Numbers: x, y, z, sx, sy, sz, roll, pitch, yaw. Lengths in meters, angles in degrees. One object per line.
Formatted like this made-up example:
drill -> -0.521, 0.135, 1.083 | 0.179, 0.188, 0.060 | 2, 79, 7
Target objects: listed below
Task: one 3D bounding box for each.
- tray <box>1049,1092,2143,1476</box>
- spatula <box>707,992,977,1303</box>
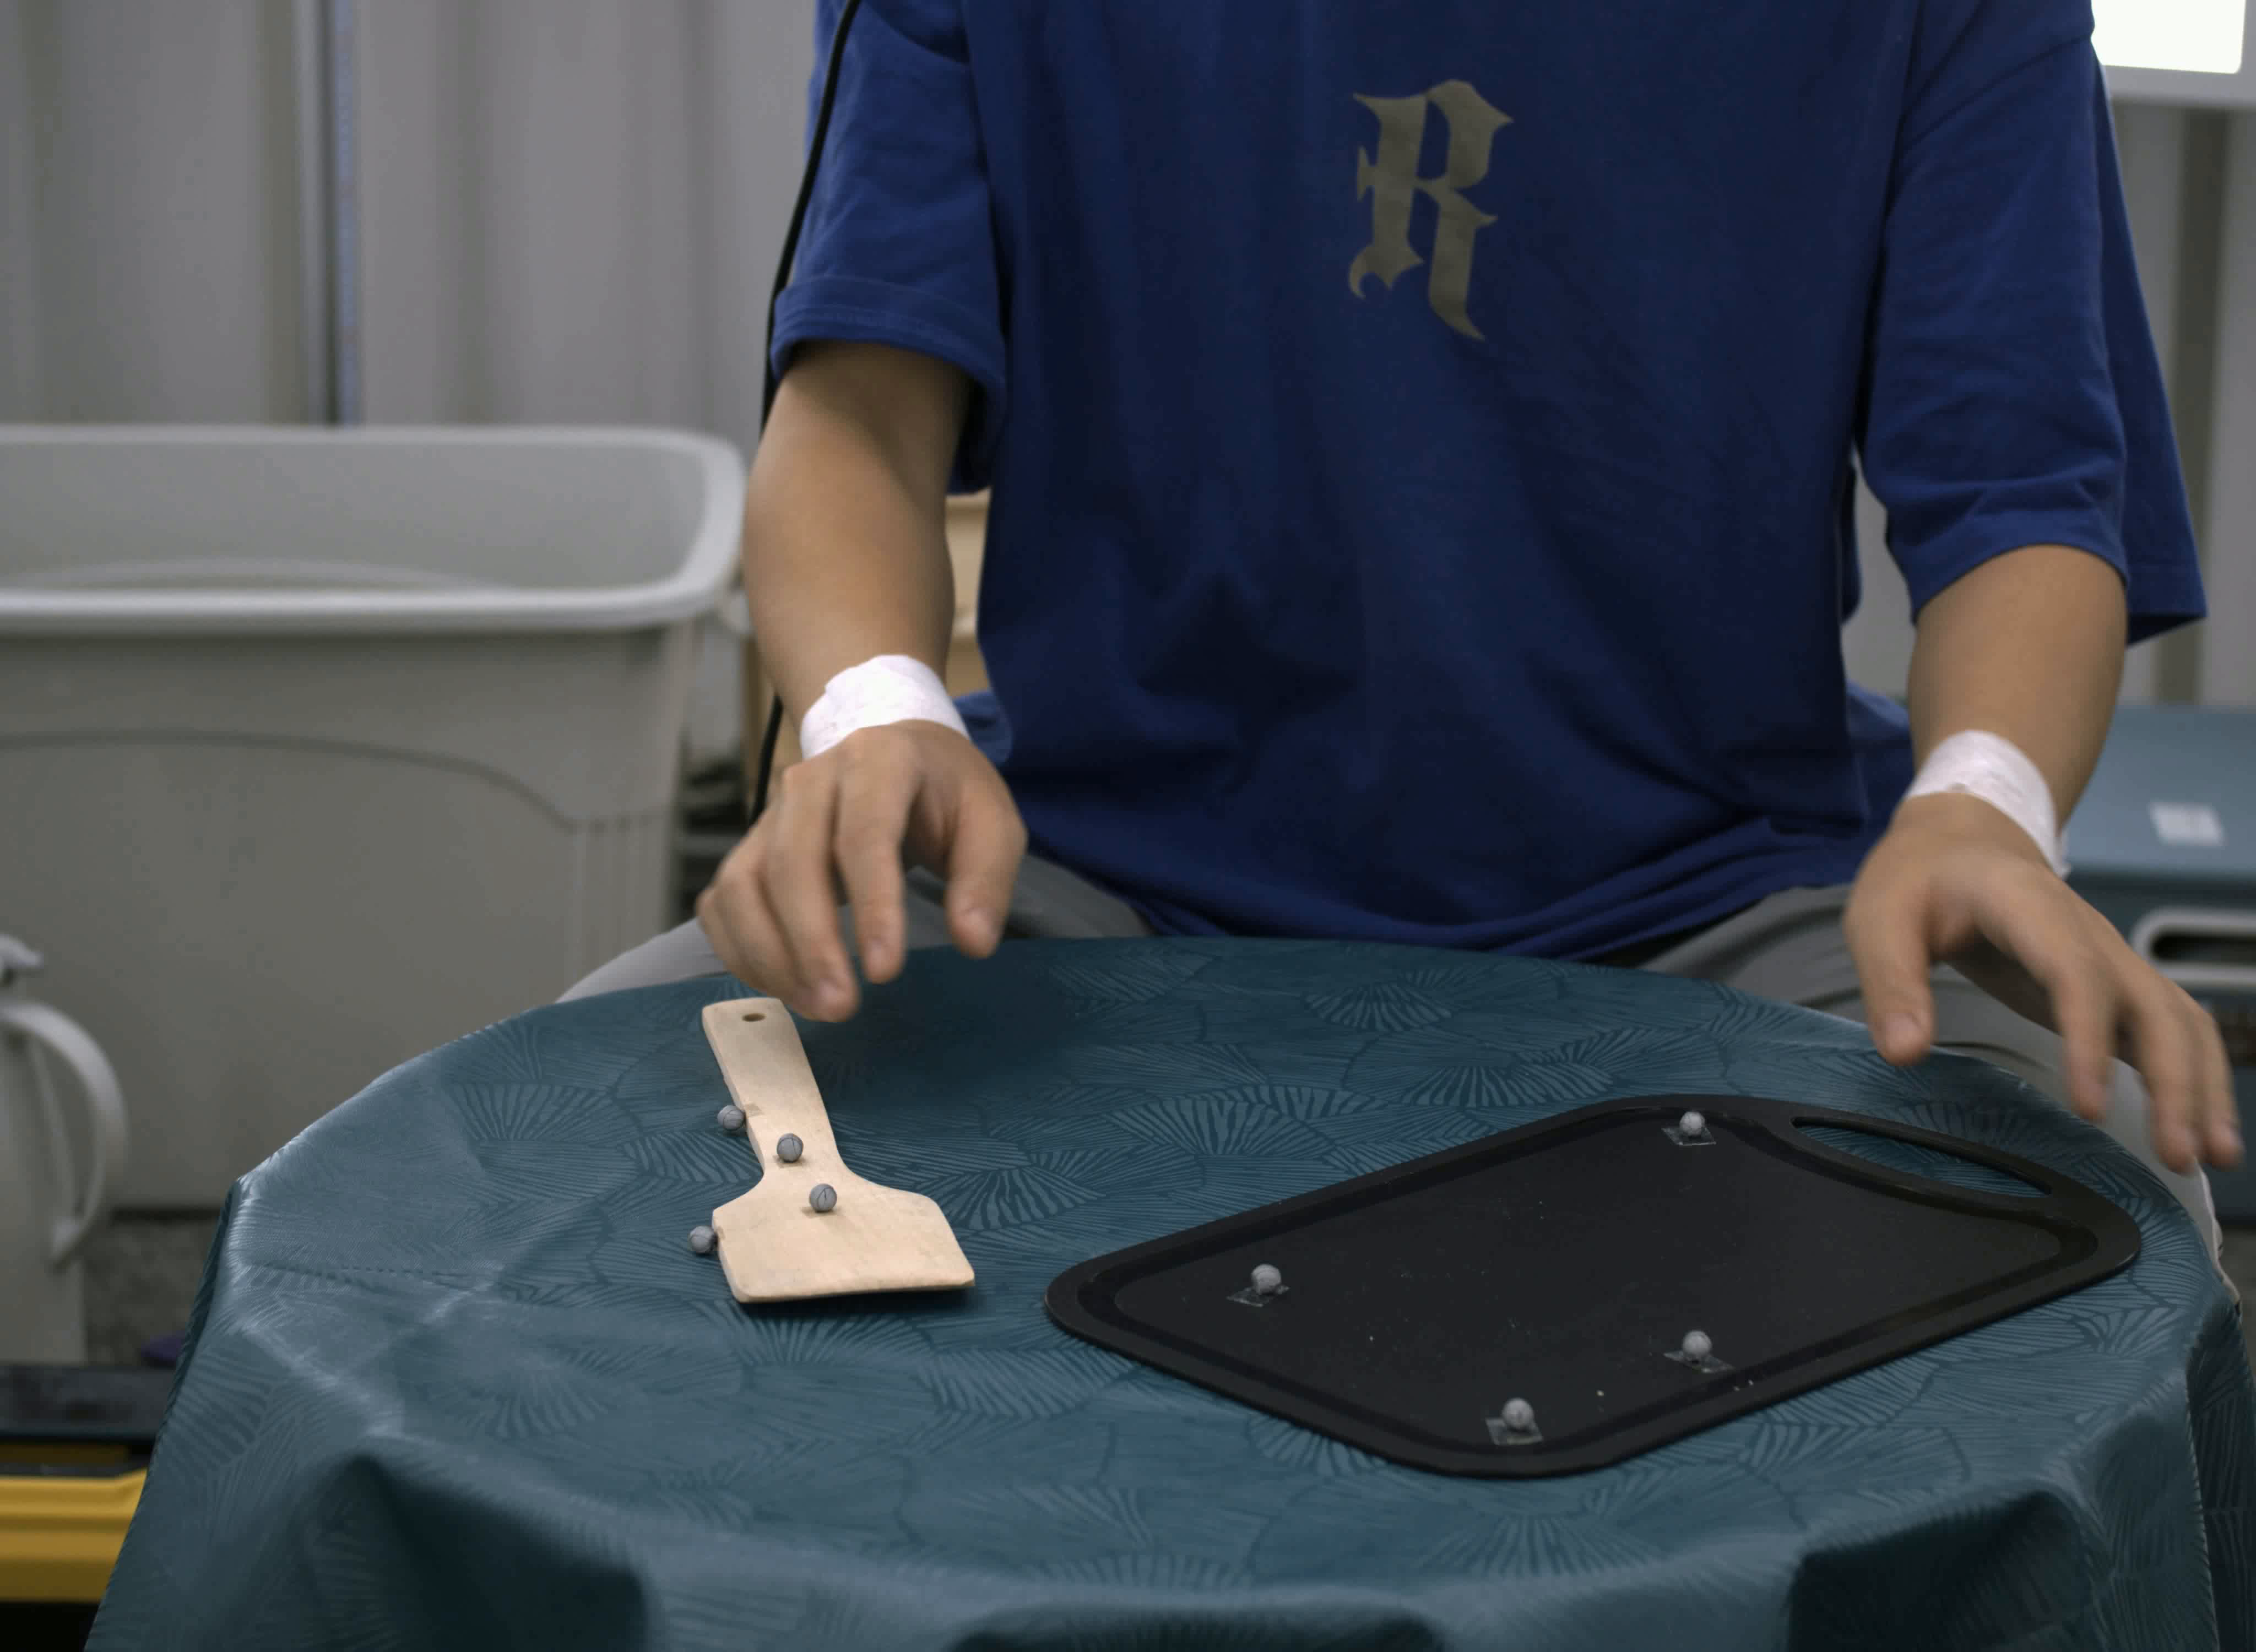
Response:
tray -> 0.146, 0.127, 1.562 | 0.327, 0.010, 0.208 | -13, 21, -41
spatula -> -0.105, 0.098, 1.653 | 0.072, 0.011, 0.290 | -4, 16, -10
